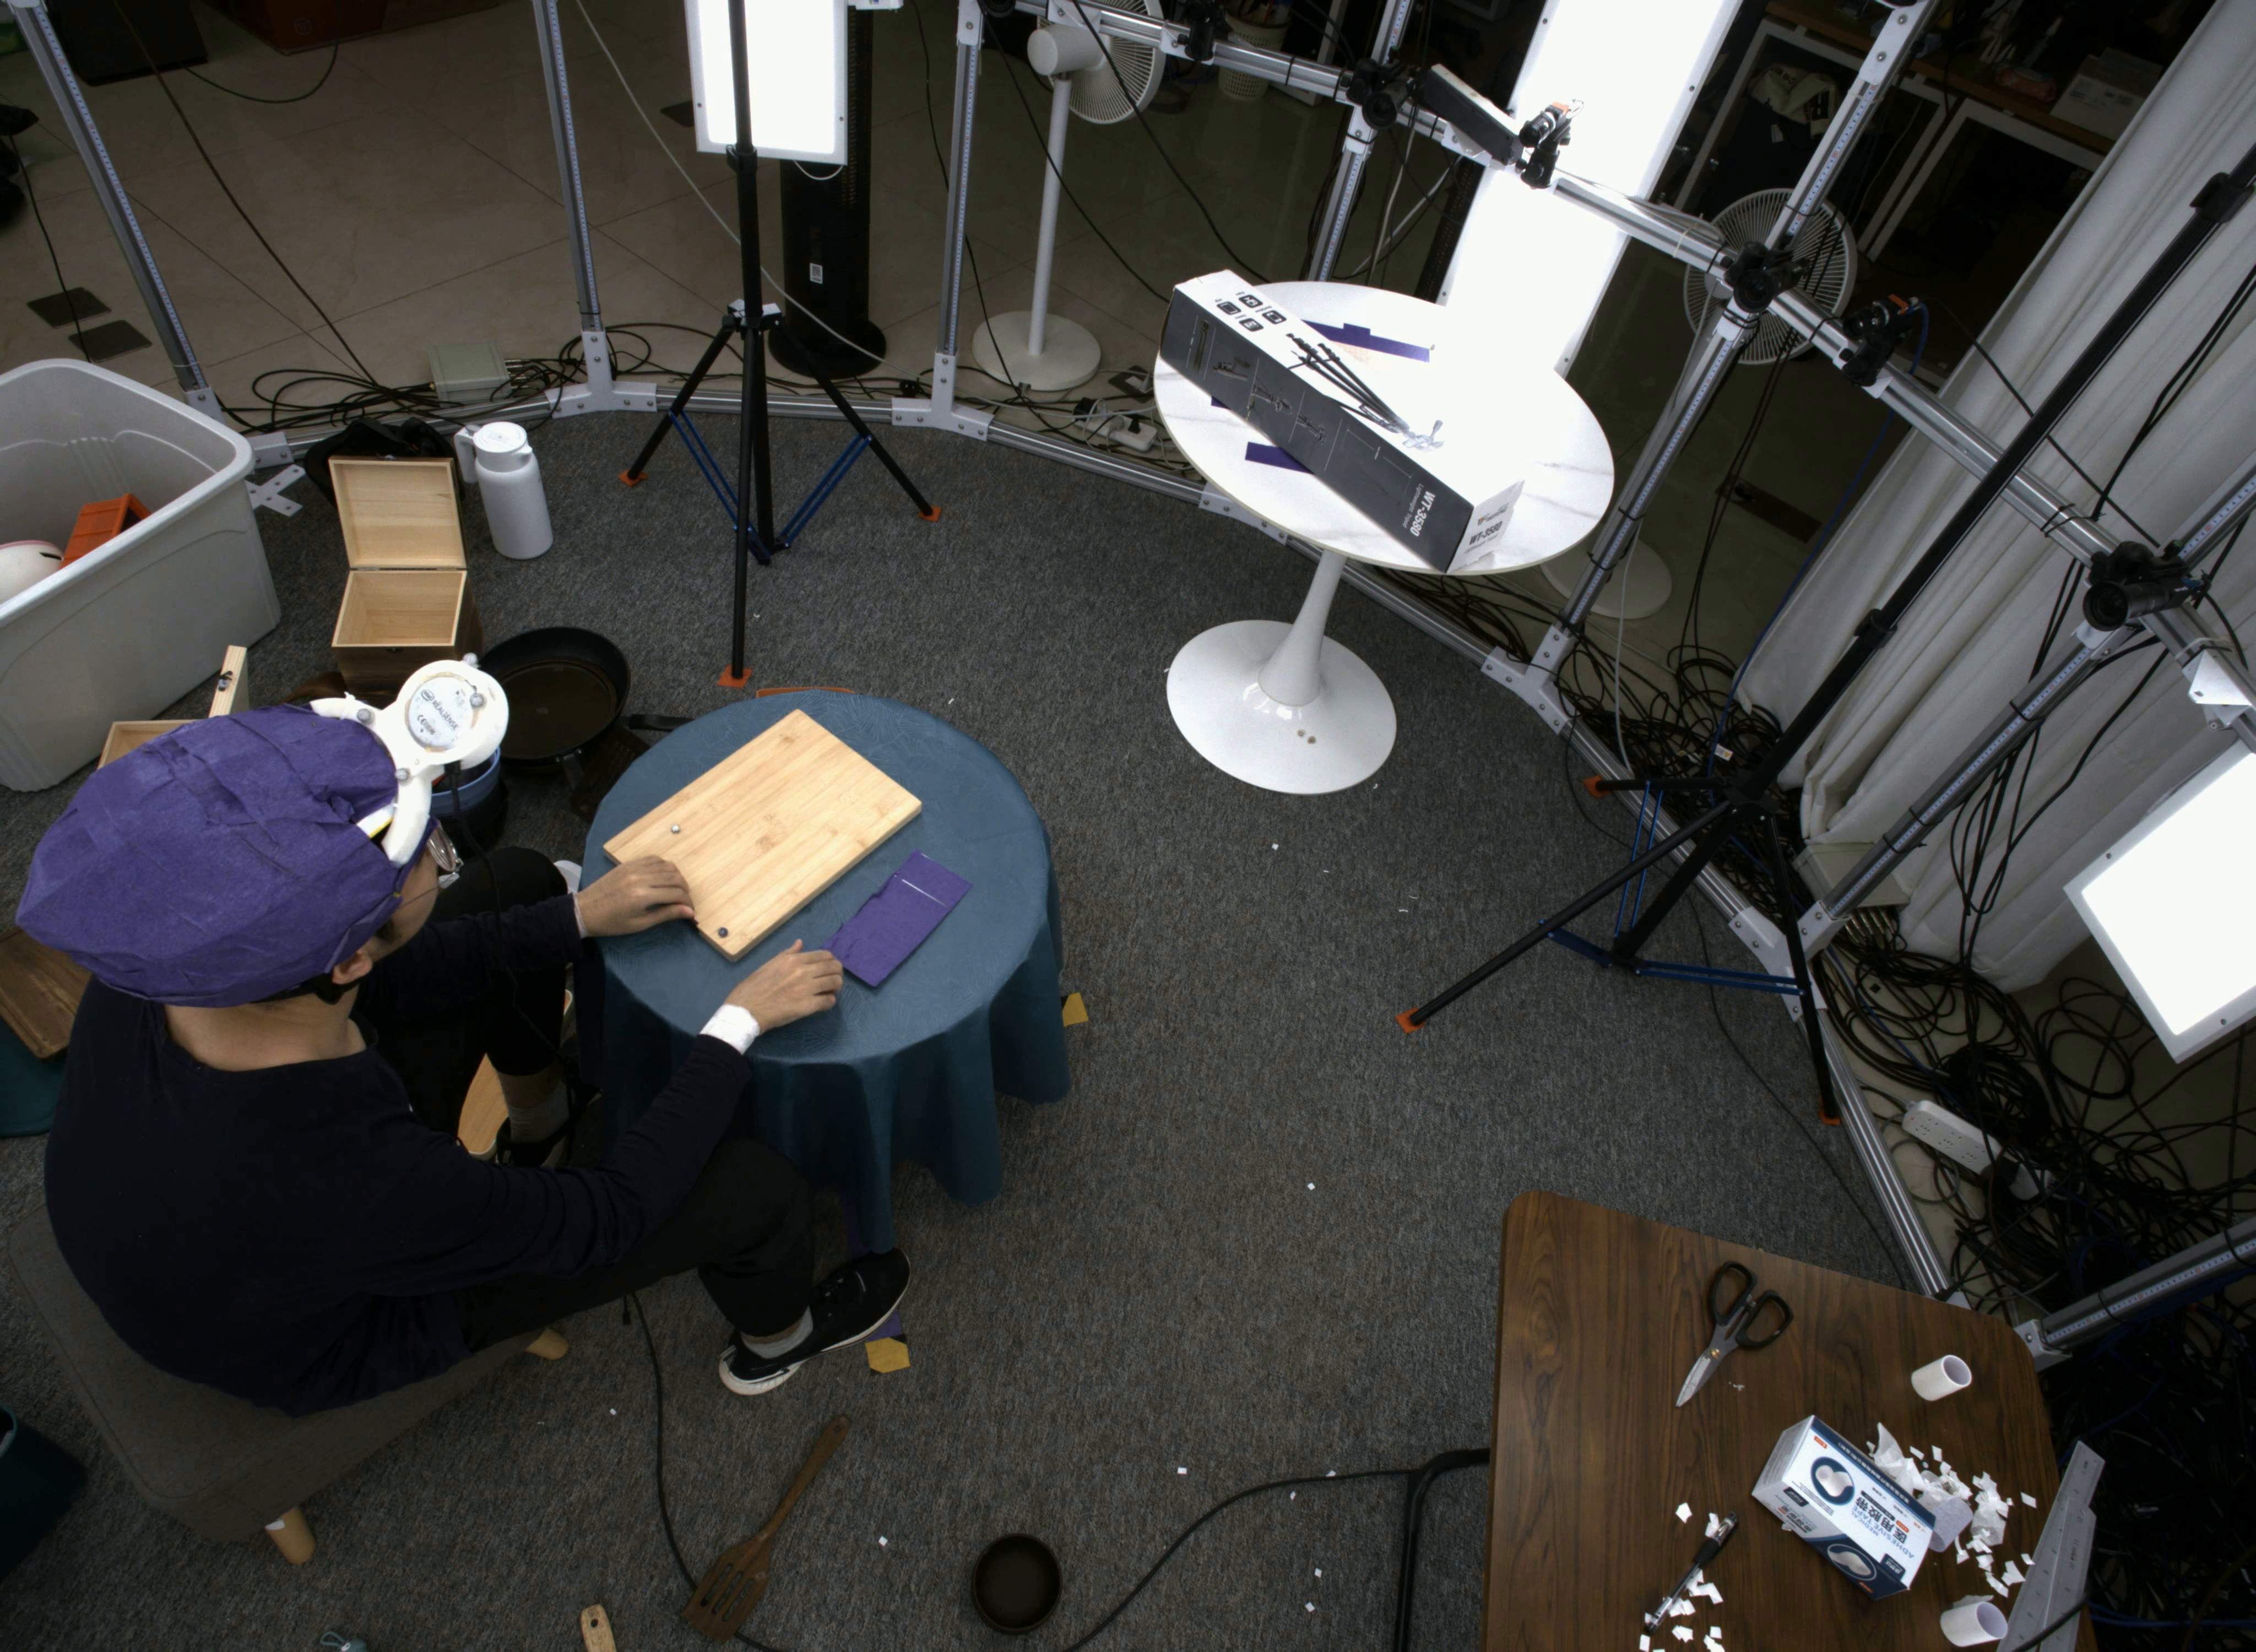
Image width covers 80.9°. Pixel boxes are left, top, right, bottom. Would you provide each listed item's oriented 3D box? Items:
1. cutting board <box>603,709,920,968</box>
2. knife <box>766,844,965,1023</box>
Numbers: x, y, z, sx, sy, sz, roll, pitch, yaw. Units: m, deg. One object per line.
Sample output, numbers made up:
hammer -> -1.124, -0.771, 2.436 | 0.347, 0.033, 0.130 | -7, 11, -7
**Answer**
cutting board -> -0.478, 0.004, 1.707 | 0.246, 0.024, 0.348 | 36, 54, 13
knife -> -0.321, 0.141, 1.640 | 0.102, 0.033, 0.314 | 31, 52, 10
